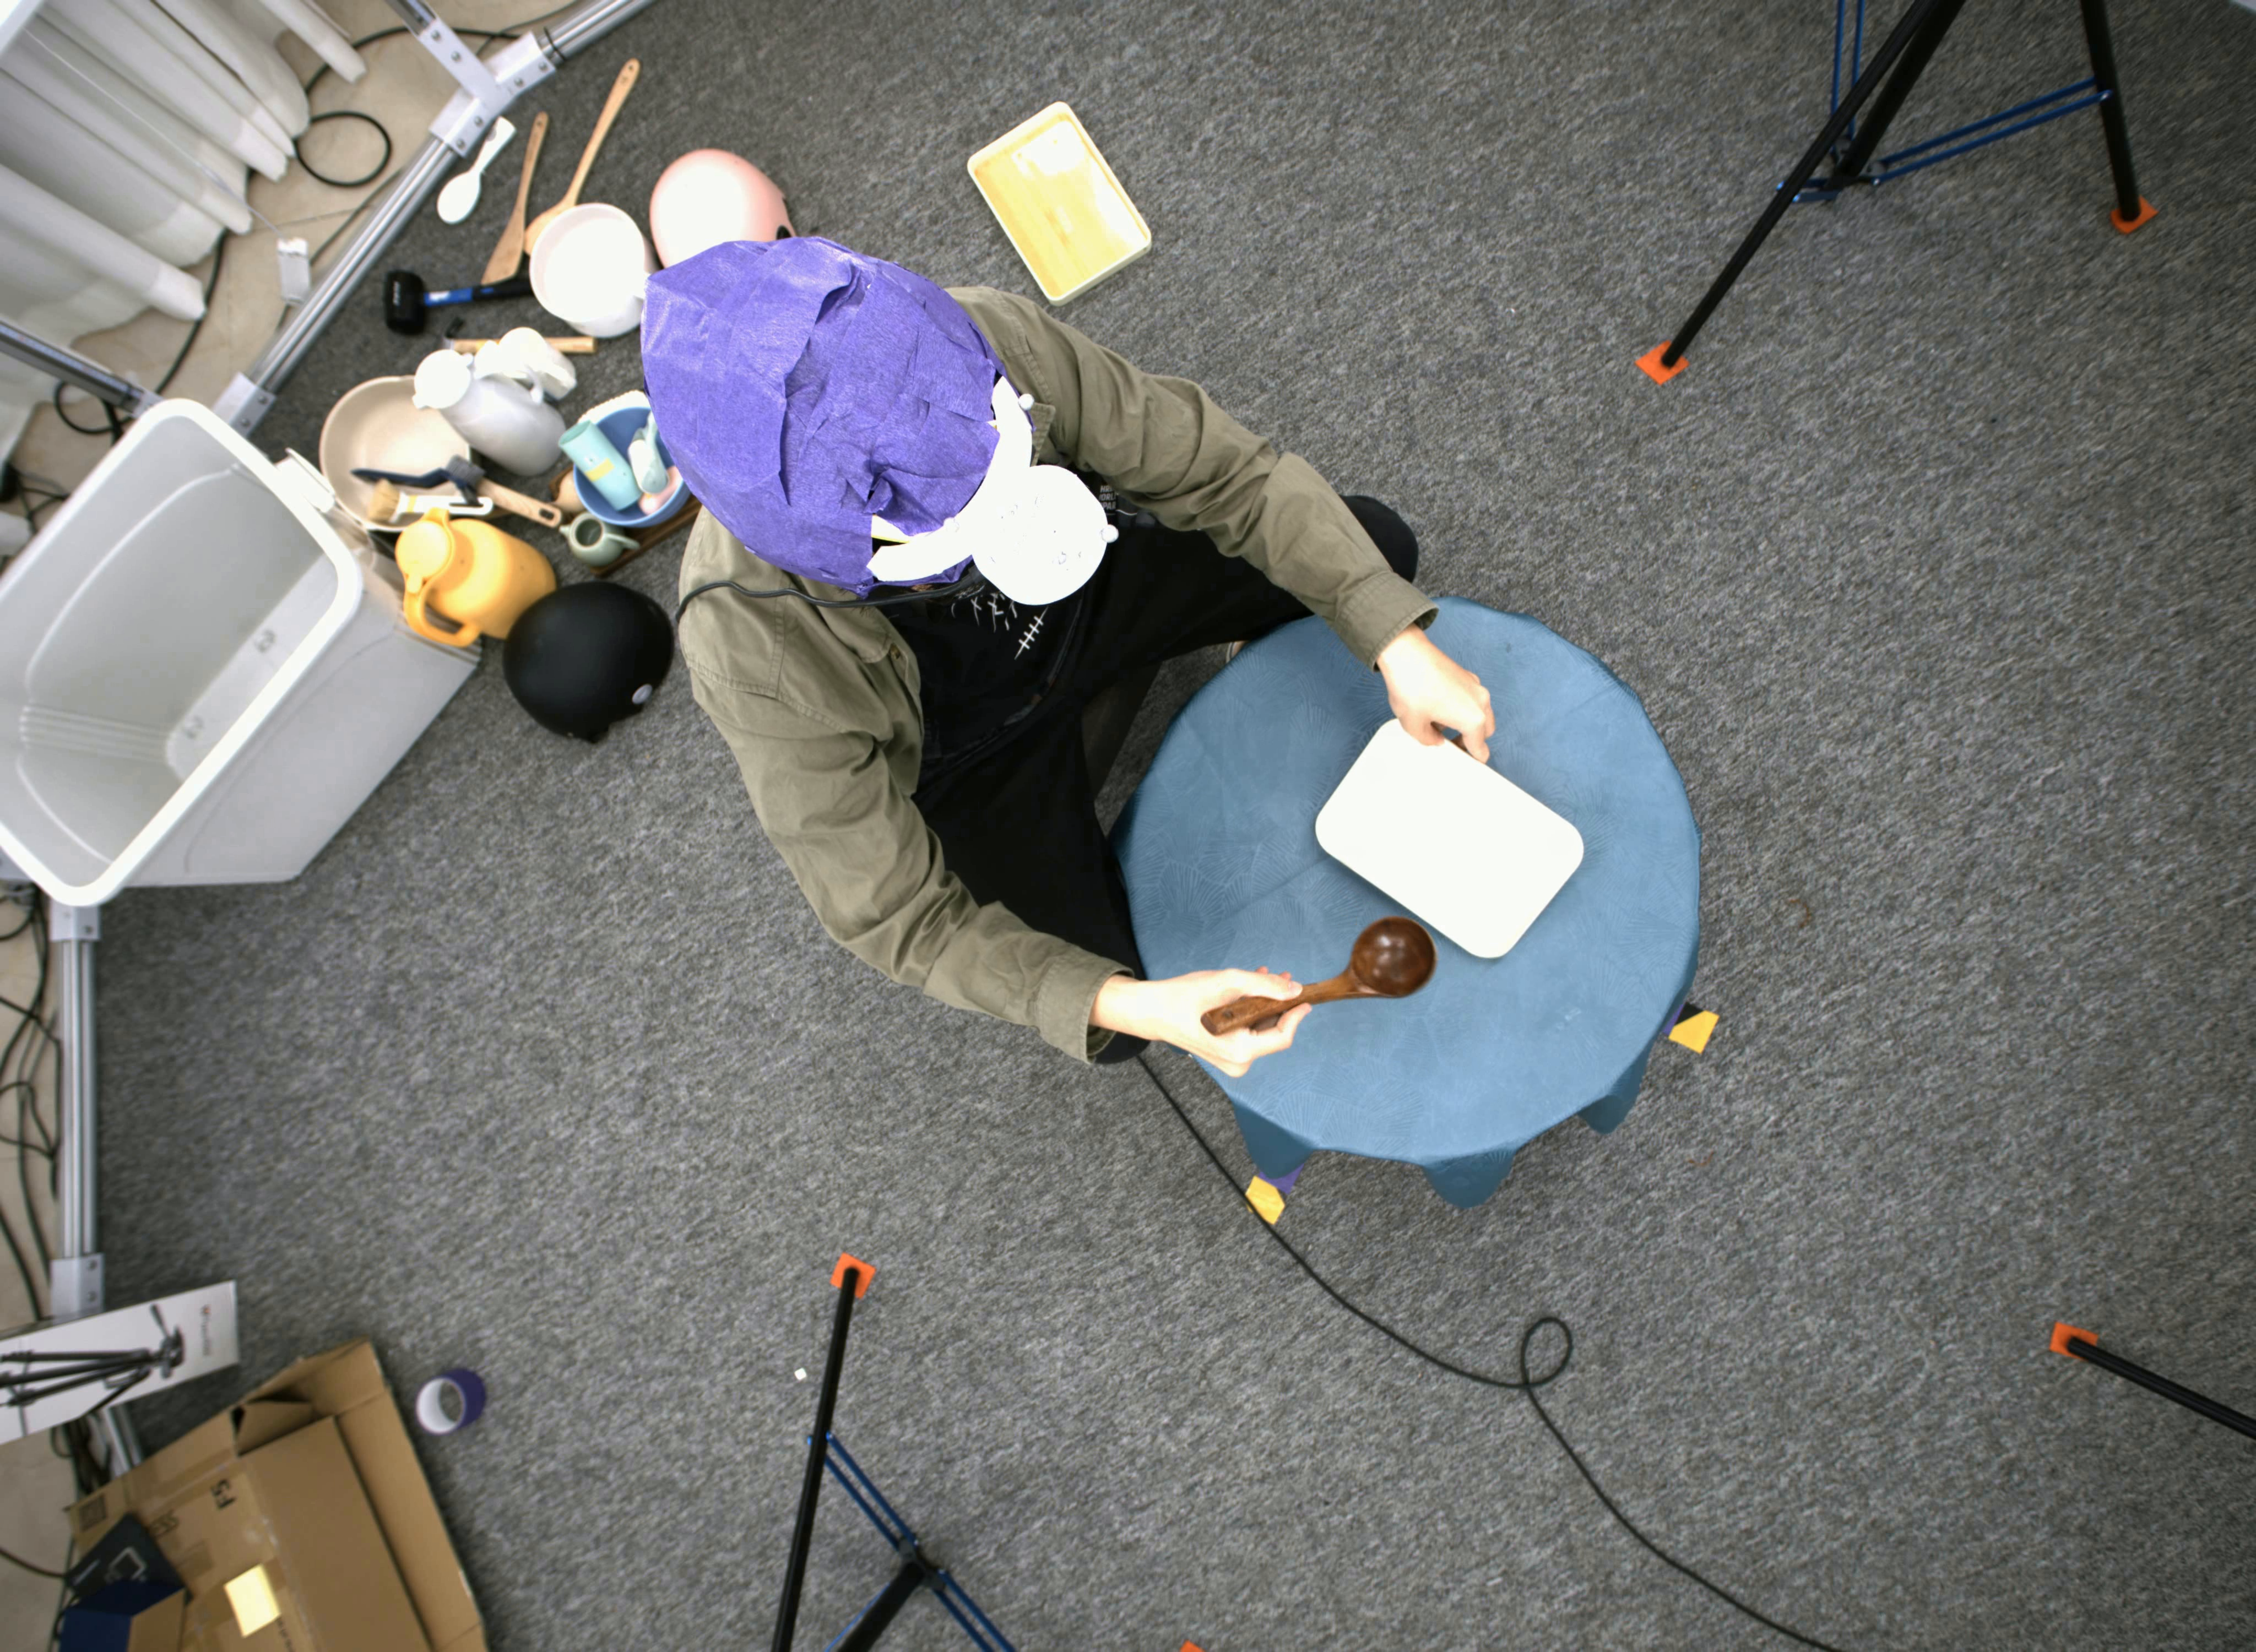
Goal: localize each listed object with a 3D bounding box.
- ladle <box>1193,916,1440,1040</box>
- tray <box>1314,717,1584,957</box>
[{"bbox_3d":[0.175,0.135,1.236,0.081,0.271,0.078,47,128,35],"label":"ladle"},{"bbox_3d":[0.321,0.010,1.388,0.239,0.017,0.175,35,116,4],"label":"tray"}]
